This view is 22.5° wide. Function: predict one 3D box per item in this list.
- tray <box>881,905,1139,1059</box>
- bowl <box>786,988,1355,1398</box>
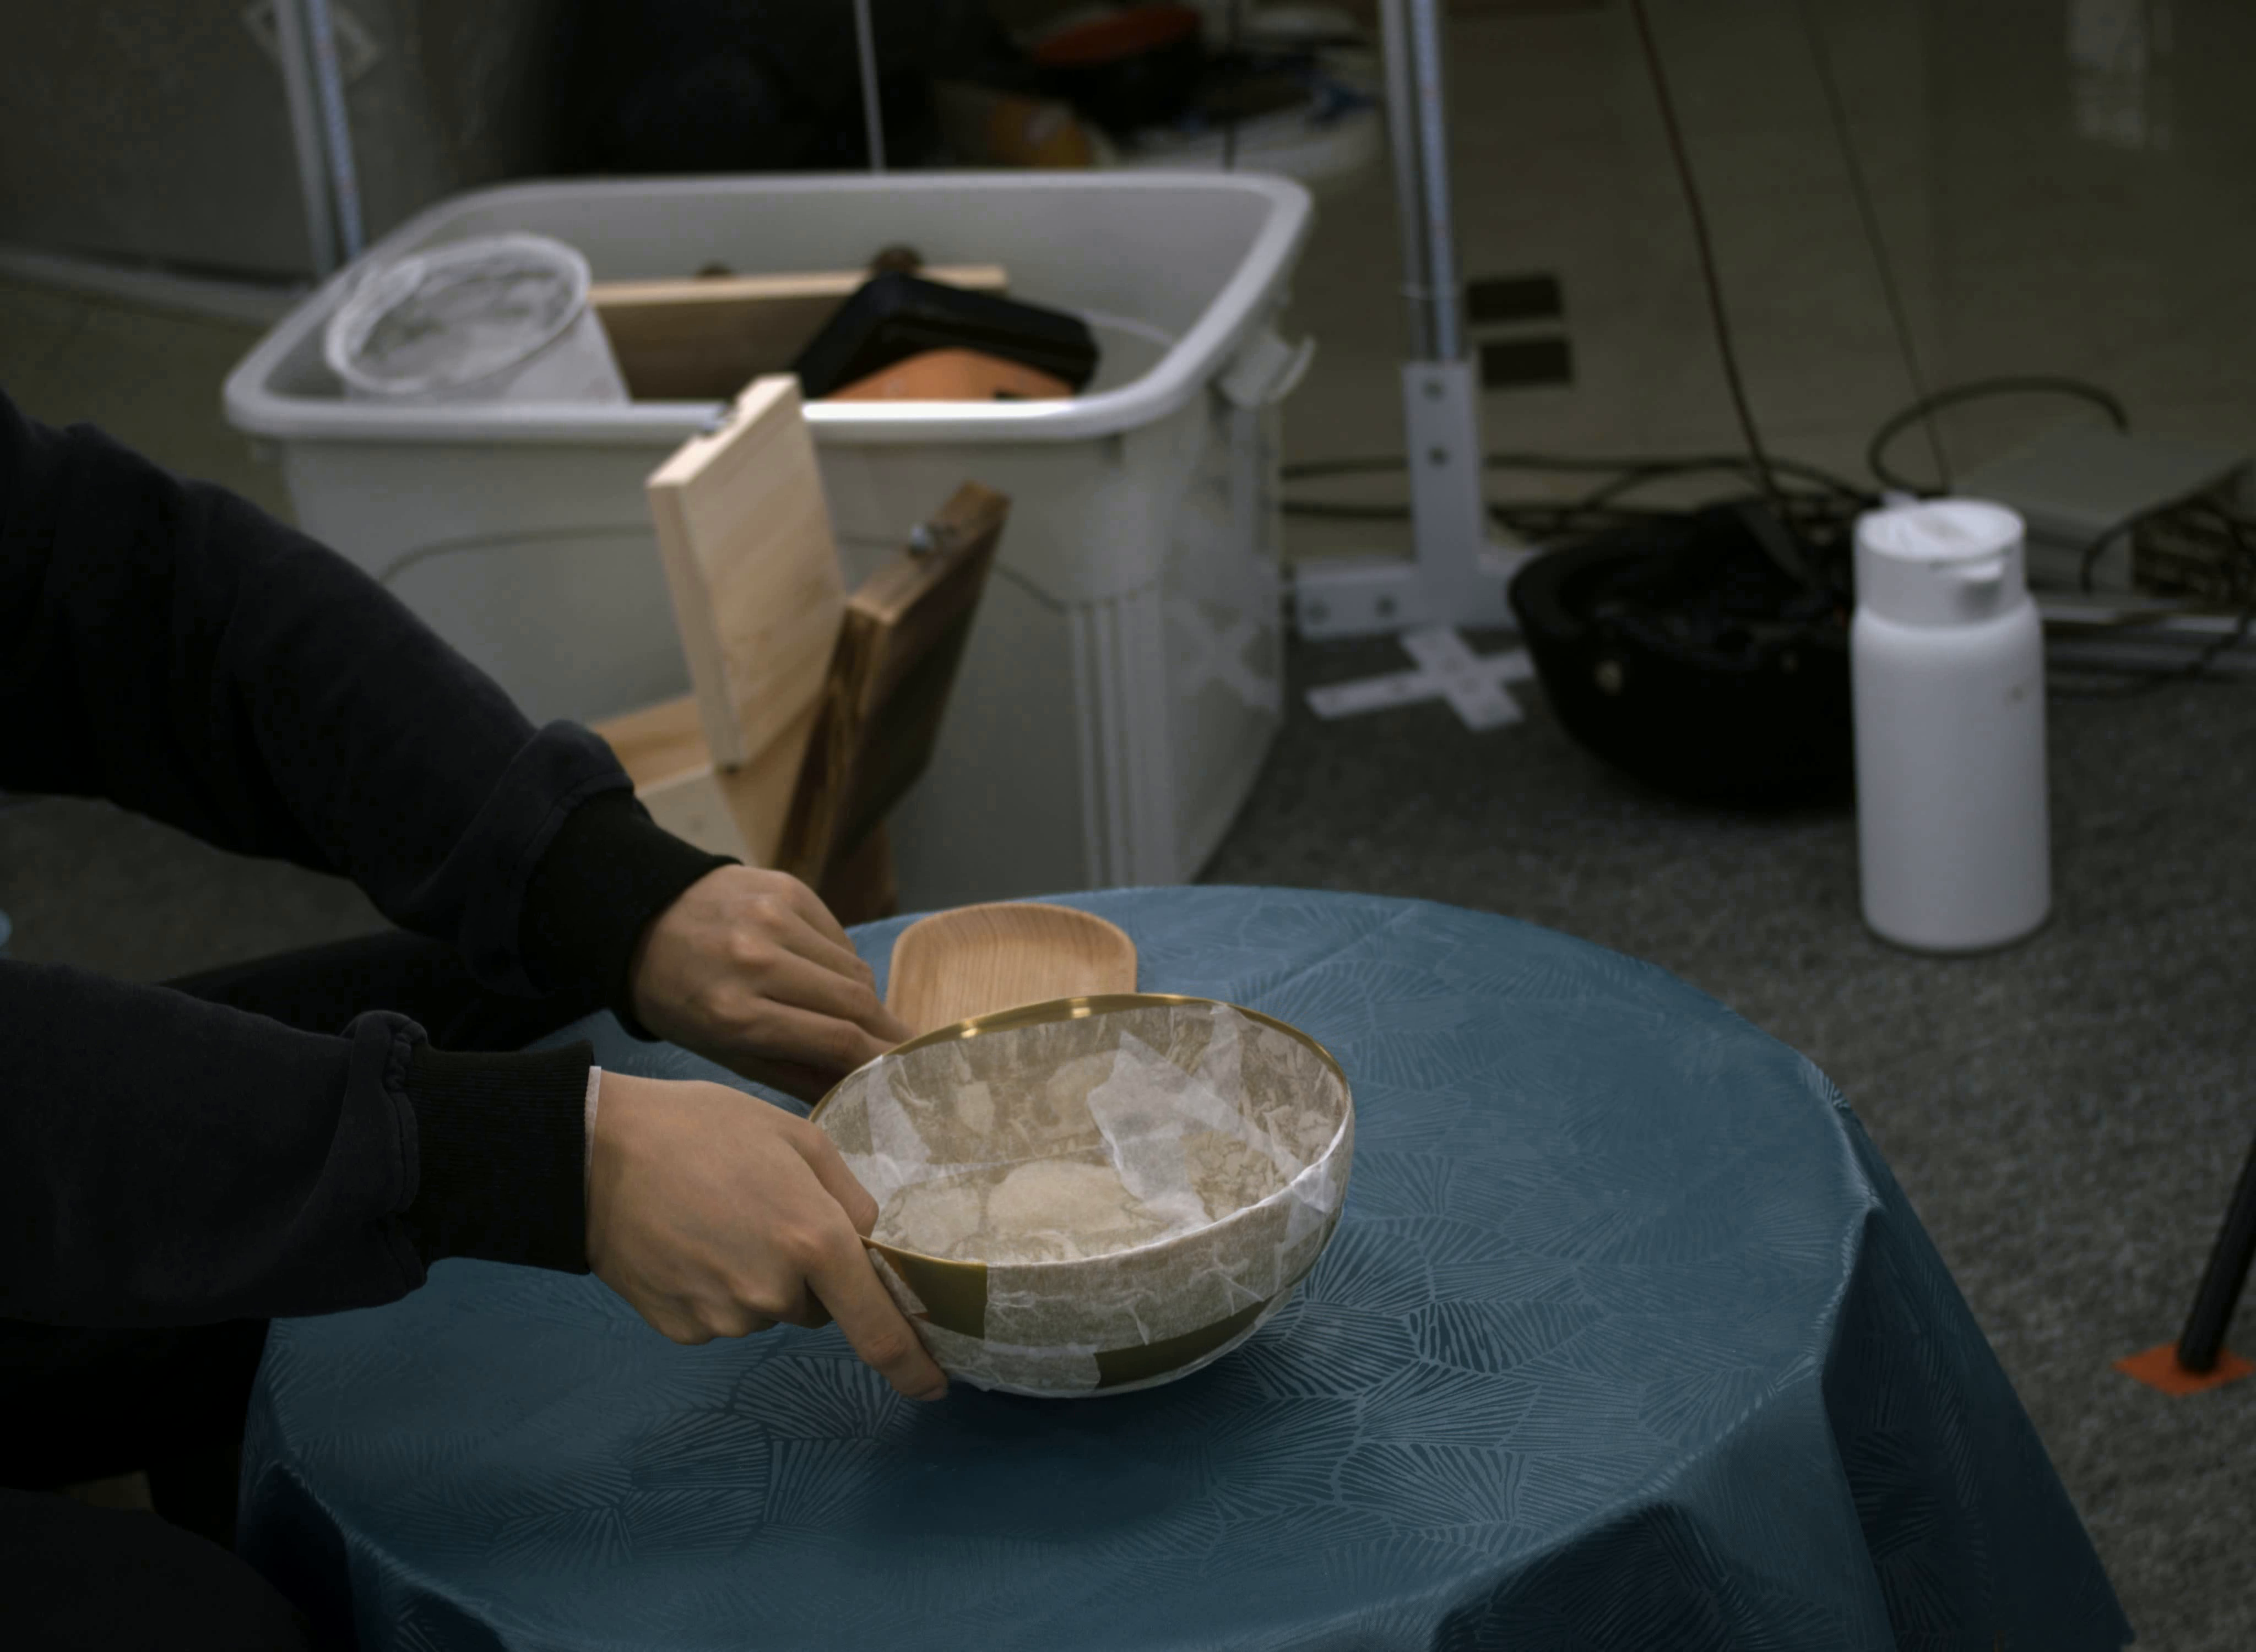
[{"bbox_3d":[-0.046,0.088,2.245,0.101,0.020,0.227,-1,27,0],"label":"tray"},{"bbox_3d":[-0.015,0.142,2.035,0.214,0.096,0.211,-7,26,4],"label":"bowl"}]
